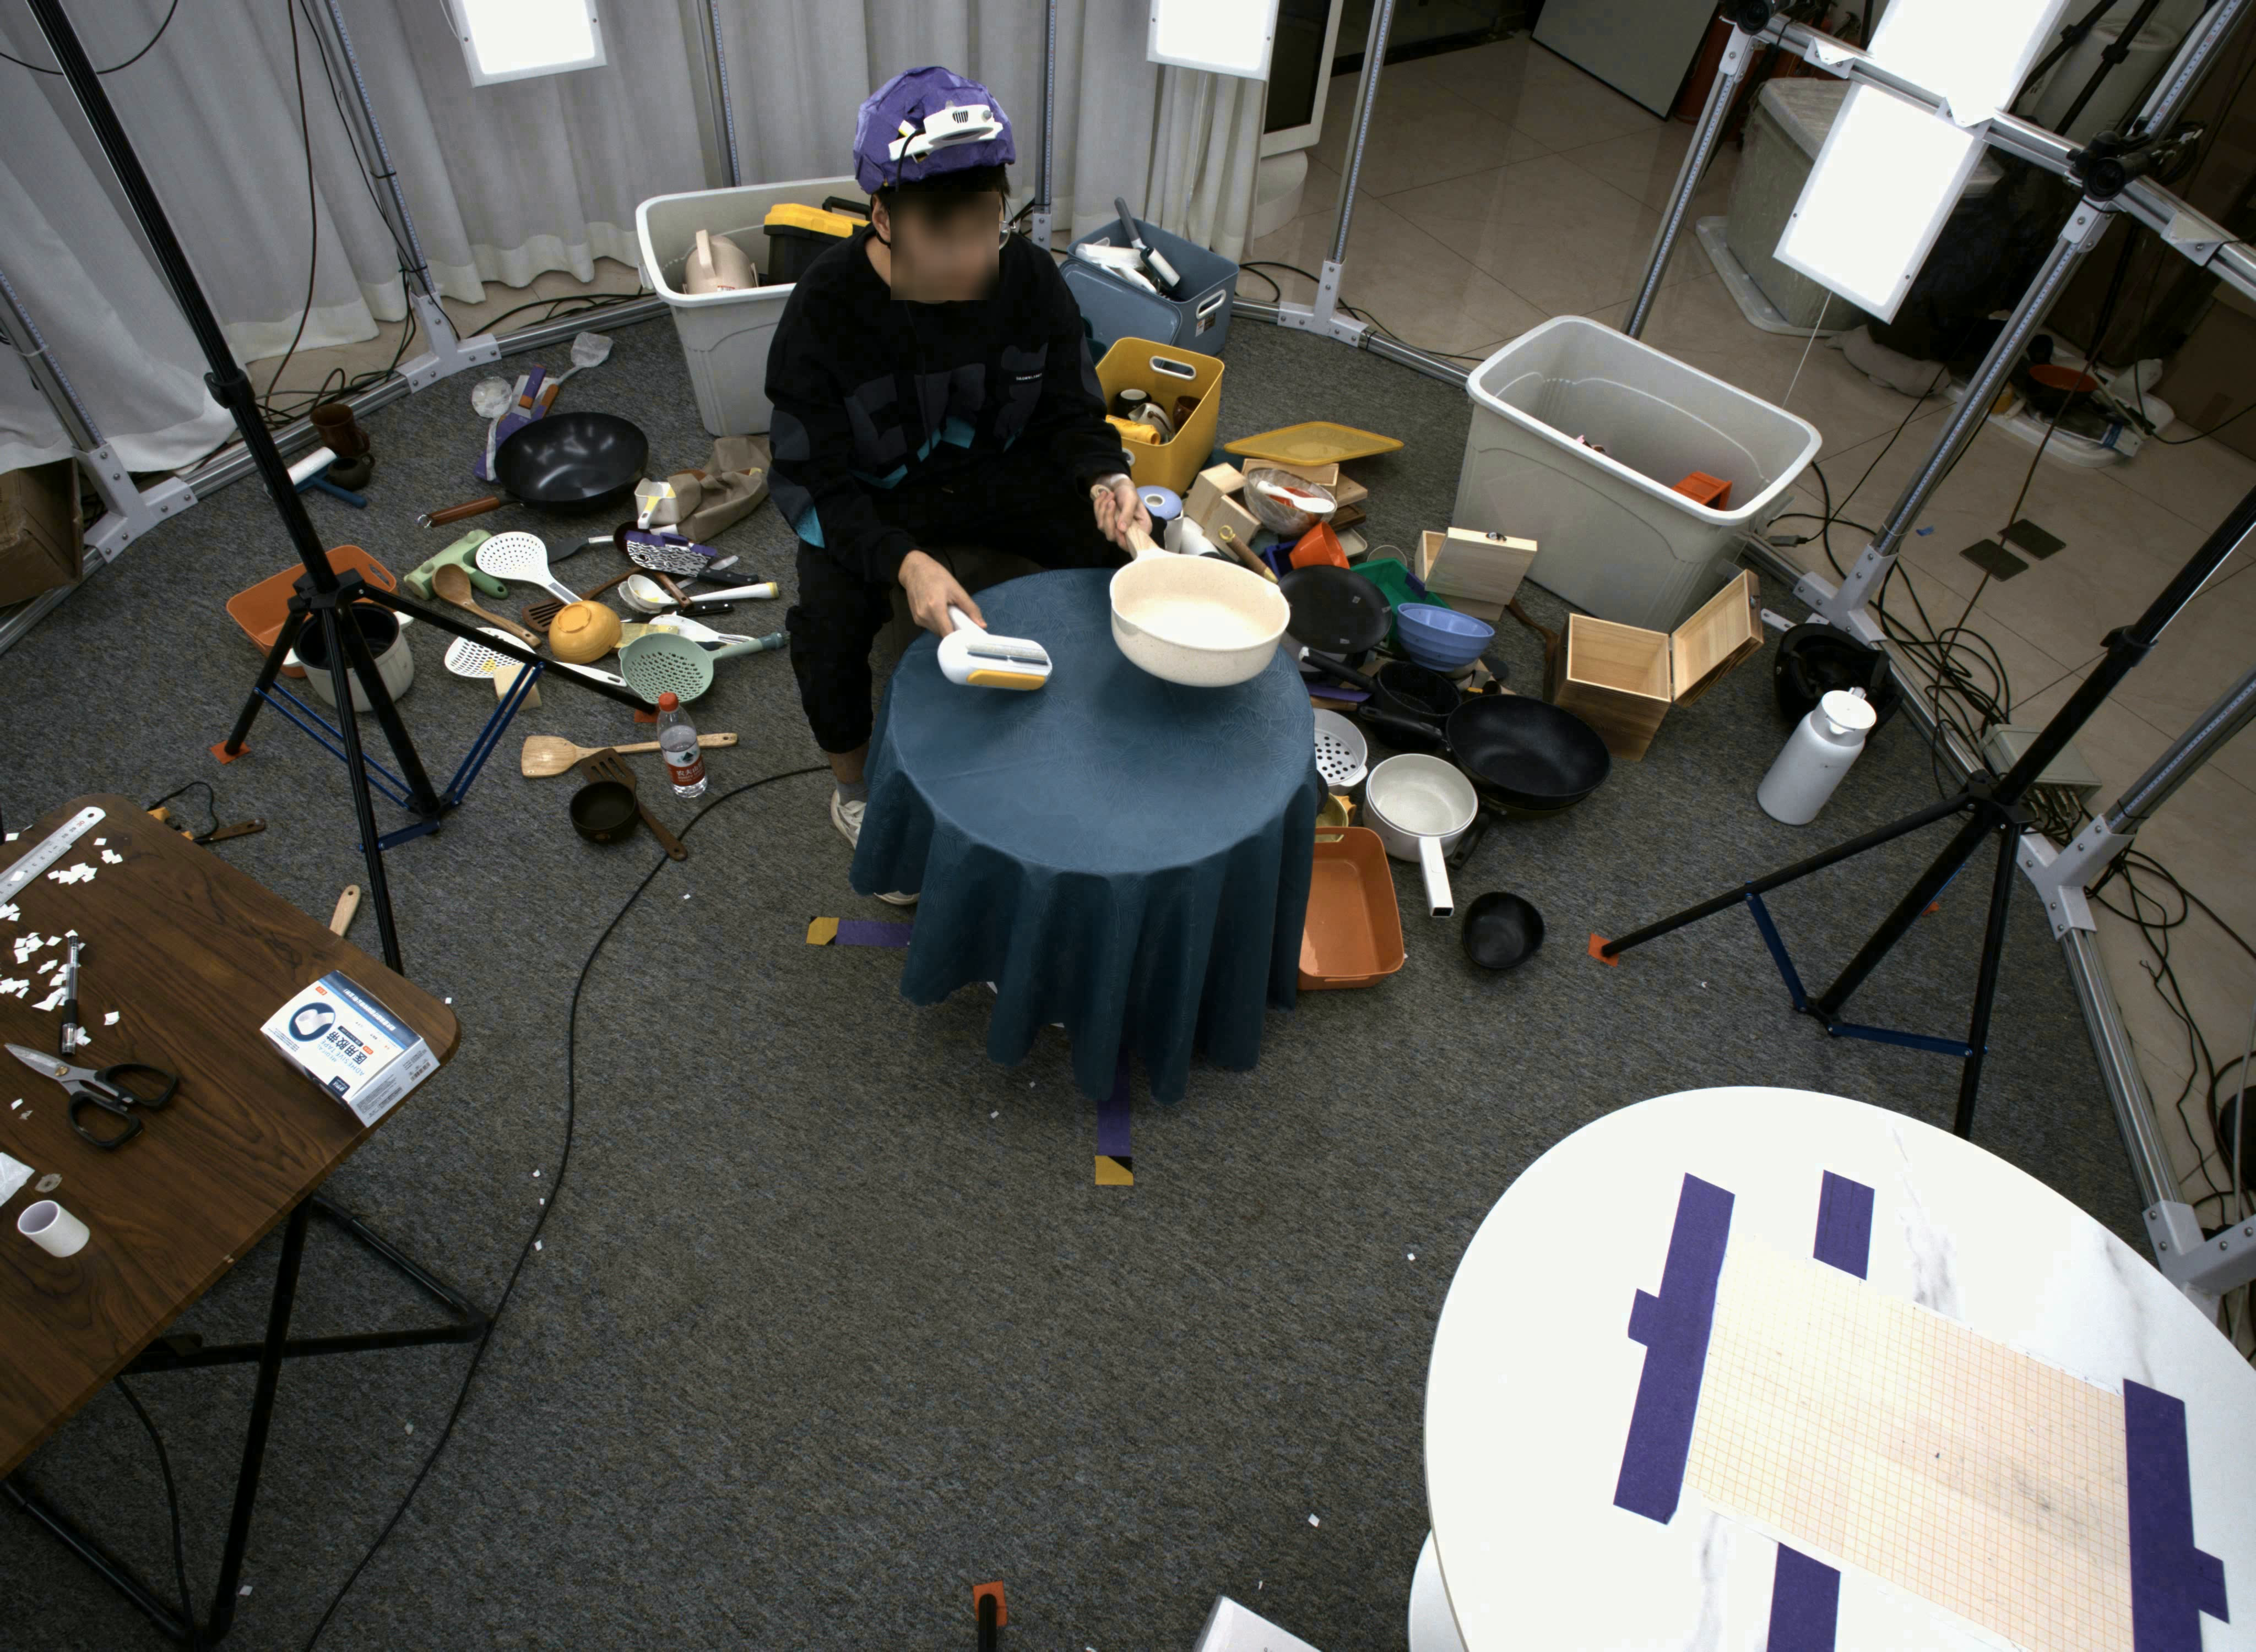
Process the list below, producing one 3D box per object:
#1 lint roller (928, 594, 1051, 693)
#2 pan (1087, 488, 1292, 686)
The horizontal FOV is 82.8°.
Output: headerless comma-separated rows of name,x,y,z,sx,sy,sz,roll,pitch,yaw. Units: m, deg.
lint roller,-0.217,-0.265,1.785,0.192,0.073,0.196,-2,51,-45
pan,0.054,-0.345,1.849,0.264,0.099,0.444,-16,44,-25
